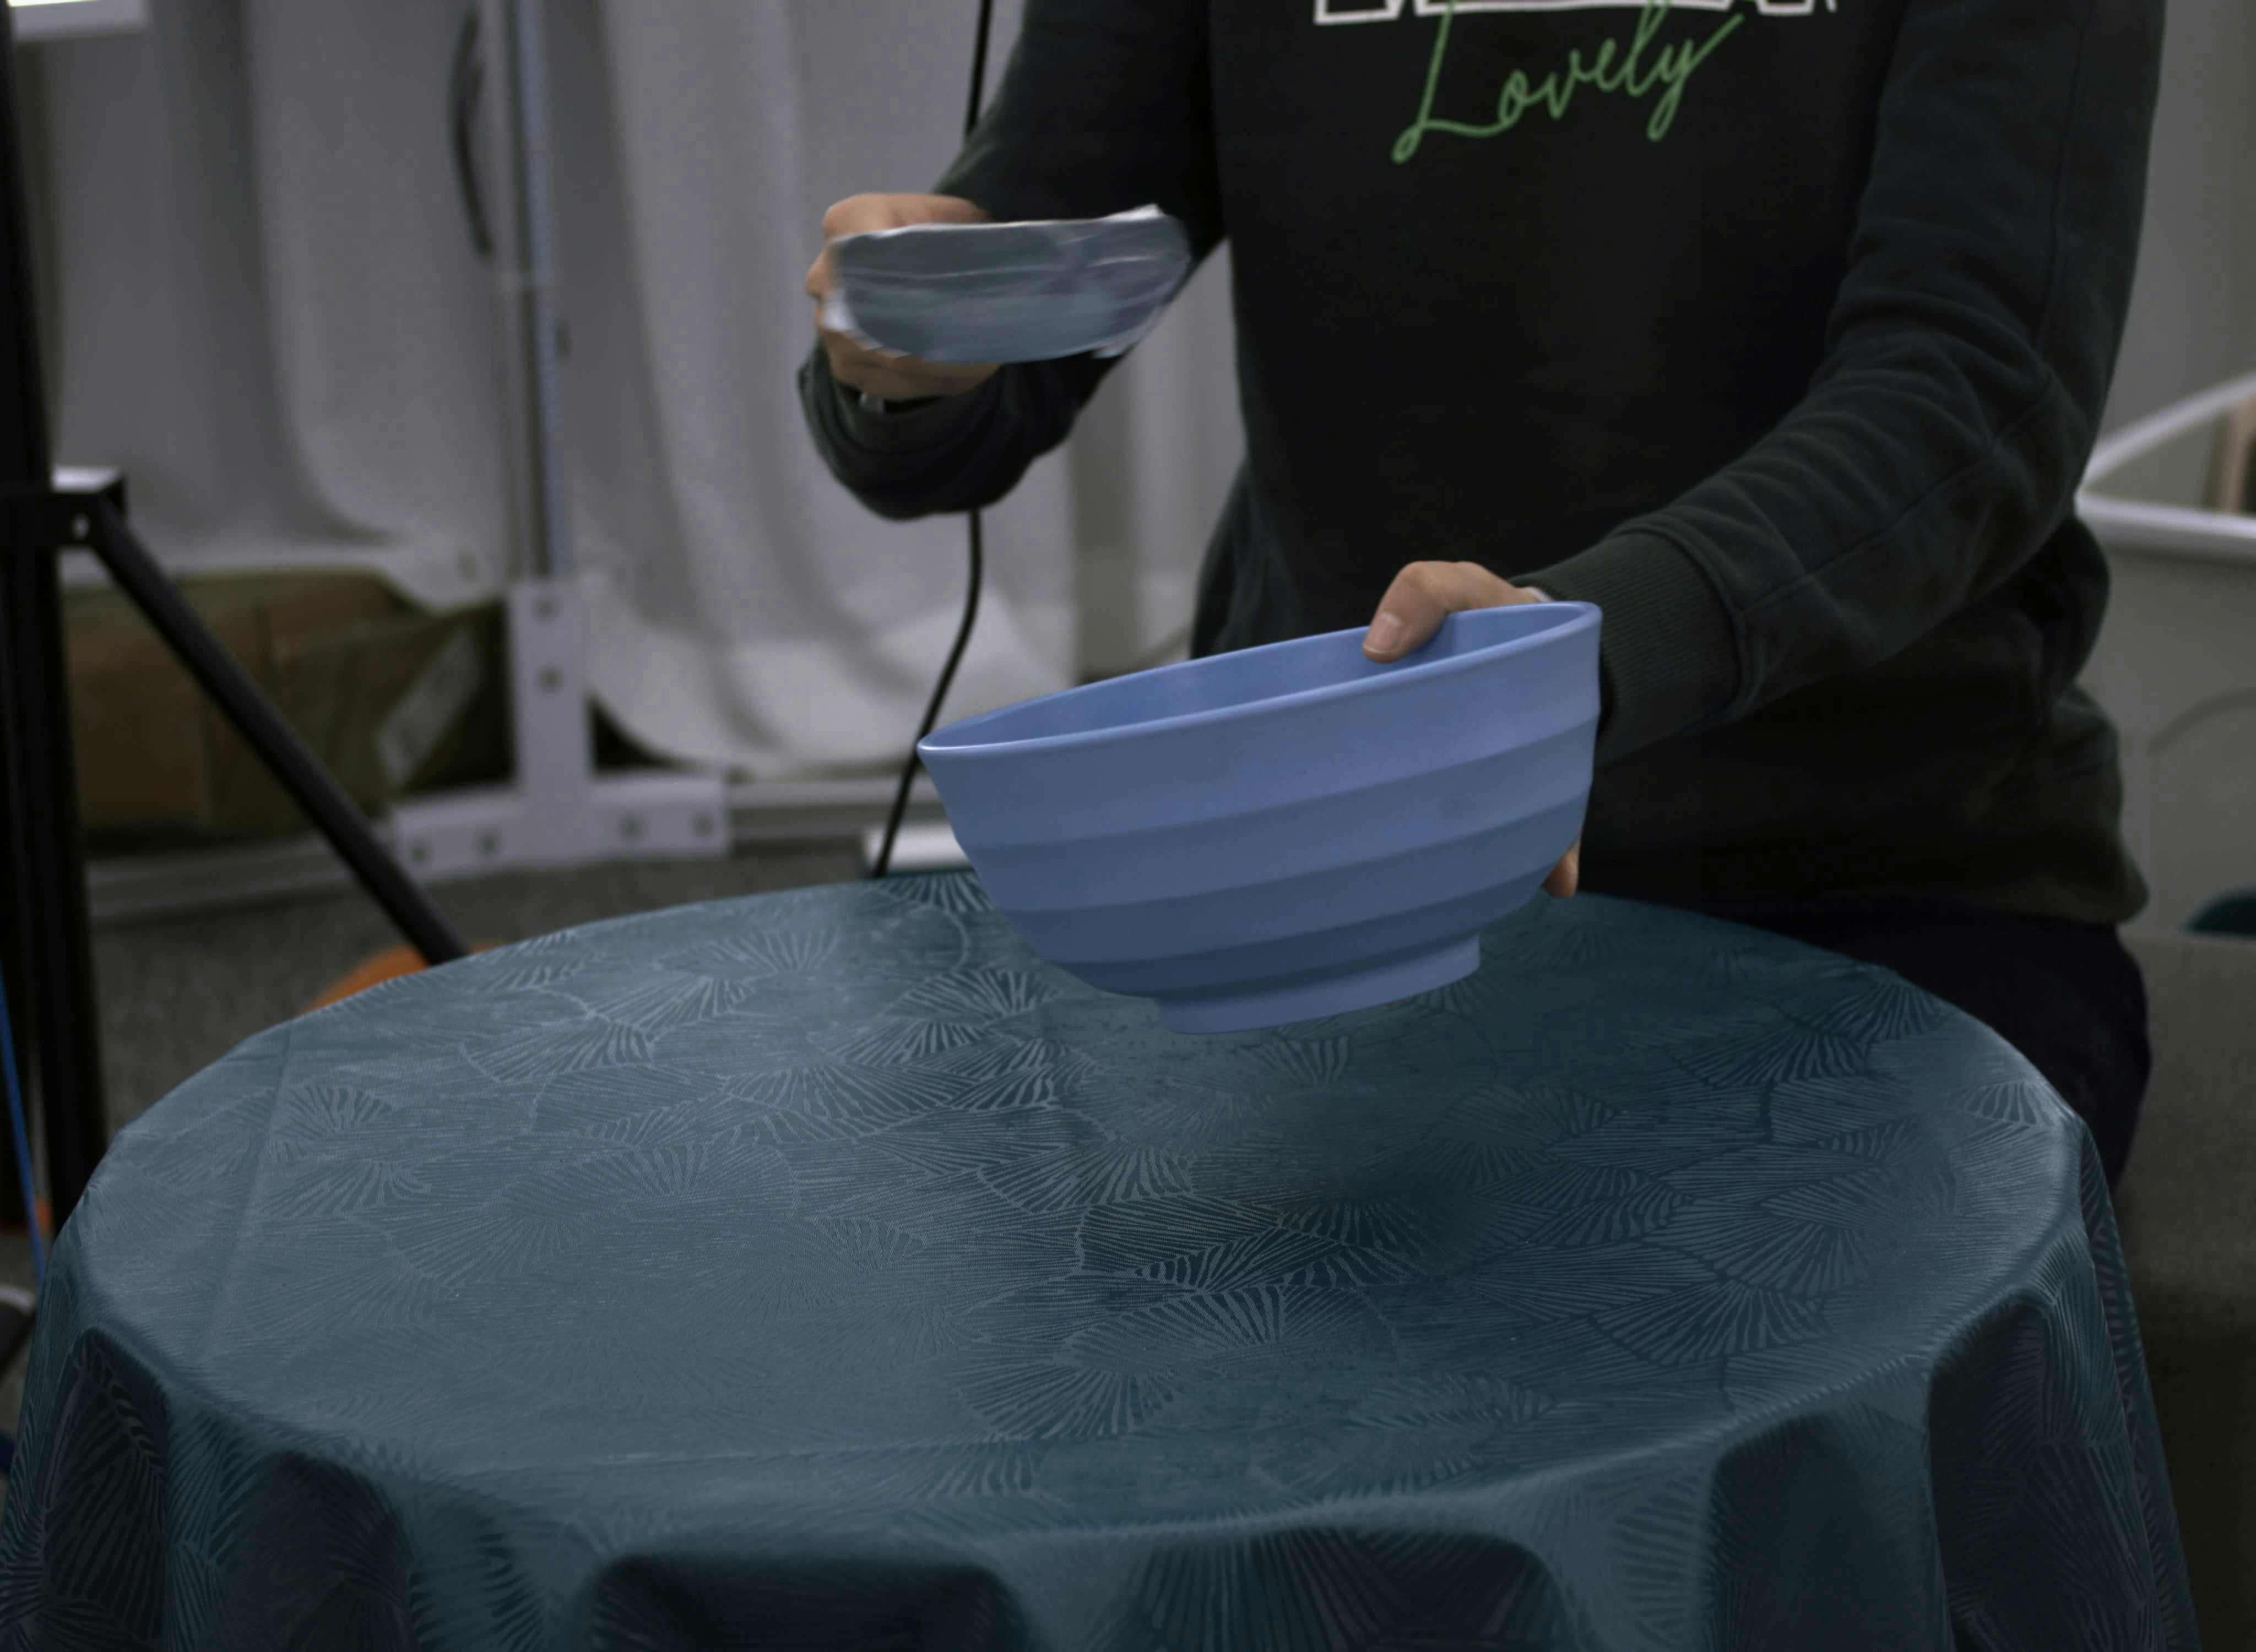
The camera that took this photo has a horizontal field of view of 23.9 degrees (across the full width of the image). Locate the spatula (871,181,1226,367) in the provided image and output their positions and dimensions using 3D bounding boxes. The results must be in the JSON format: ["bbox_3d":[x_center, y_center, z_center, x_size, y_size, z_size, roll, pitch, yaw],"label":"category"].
[{"bbox_3d":[-0.036,-0.161,1.603,0.098,0.045,0.366,-6,5,-5],"label":"spatula"}]

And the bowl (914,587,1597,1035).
[{"bbox_3d":[0.045,0.002,1.494,0.195,0.095,0.197,-13,6,0],"label":"bowl"}]
